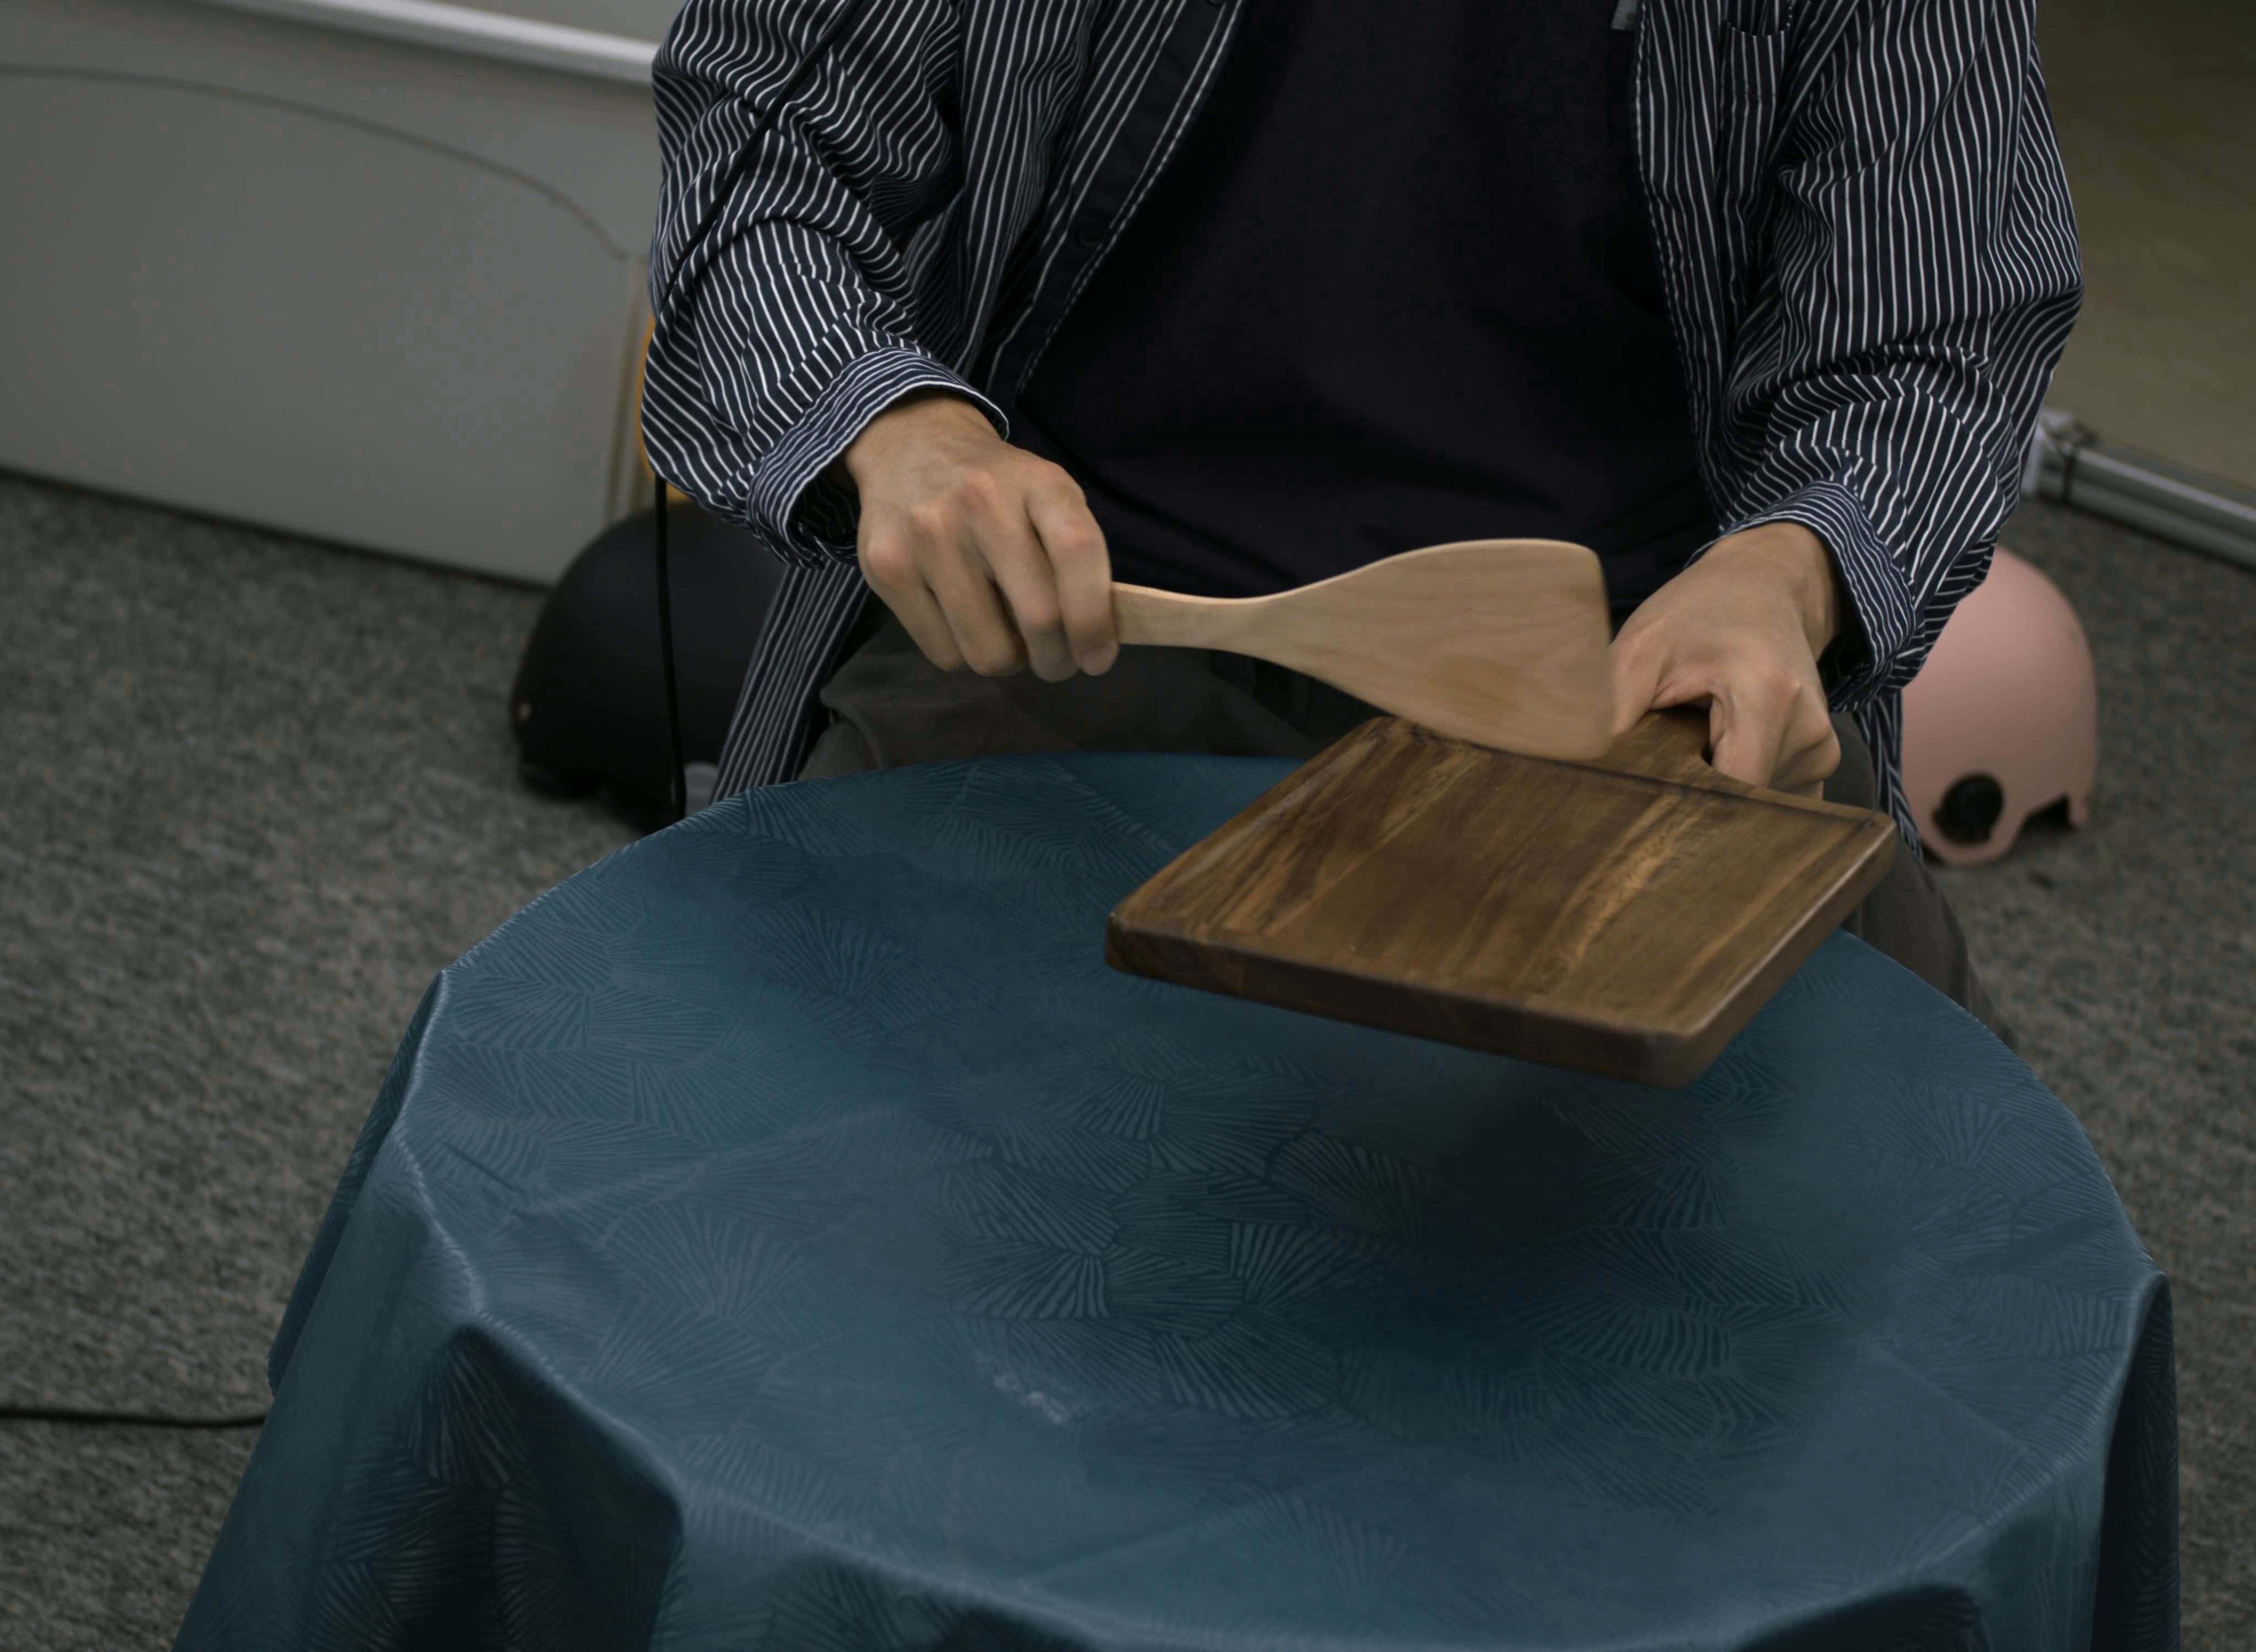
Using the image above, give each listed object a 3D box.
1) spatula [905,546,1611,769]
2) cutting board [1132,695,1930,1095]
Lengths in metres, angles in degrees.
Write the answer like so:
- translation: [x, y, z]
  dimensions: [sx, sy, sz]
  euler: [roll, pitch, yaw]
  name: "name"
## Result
- translation: [0.038, -0.067, 1.823]
  dimensions: [0.329, 0.079, 0.016]
  euler: [8, 31, 45]
  name: "spatula"
- translation: [0.157, 0.010, 1.792]
  dimensions: [0.201, 0.023, 0.351]
  euler: [12, 20, 22]
  name: "cutting board"
